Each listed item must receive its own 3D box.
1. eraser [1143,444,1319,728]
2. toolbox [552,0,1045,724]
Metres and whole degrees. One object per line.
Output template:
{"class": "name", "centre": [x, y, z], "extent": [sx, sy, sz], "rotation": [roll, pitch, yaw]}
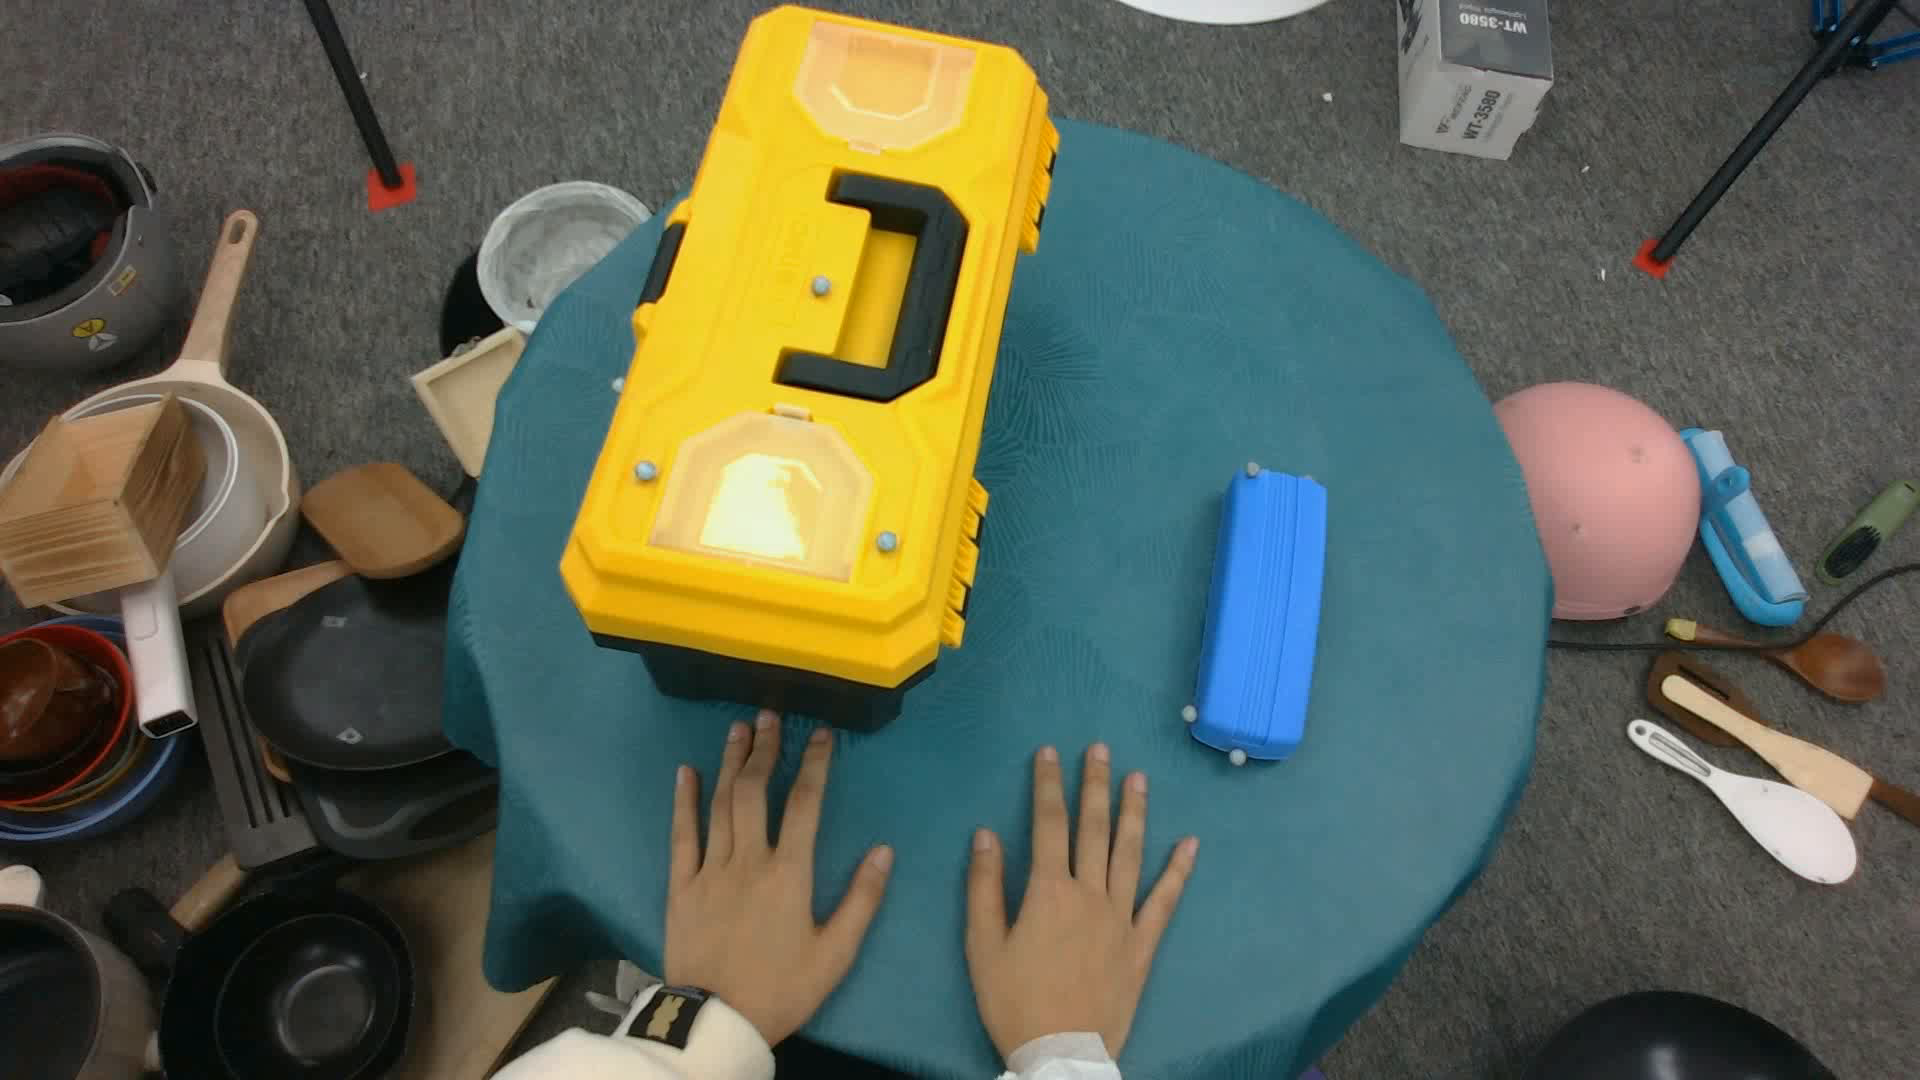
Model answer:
{"class": "eraser", "centre": [0.148, 0.019, 0.734], "extent": [0.054, 0.047, 0.163], "rotation": [22, 61, 4]}
{"class": "toolbox", "centre": [-0.069, -0.090, 0.702], "extent": [0.181, 0.172, 0.353], "rotation": [12, 63, 0]}
